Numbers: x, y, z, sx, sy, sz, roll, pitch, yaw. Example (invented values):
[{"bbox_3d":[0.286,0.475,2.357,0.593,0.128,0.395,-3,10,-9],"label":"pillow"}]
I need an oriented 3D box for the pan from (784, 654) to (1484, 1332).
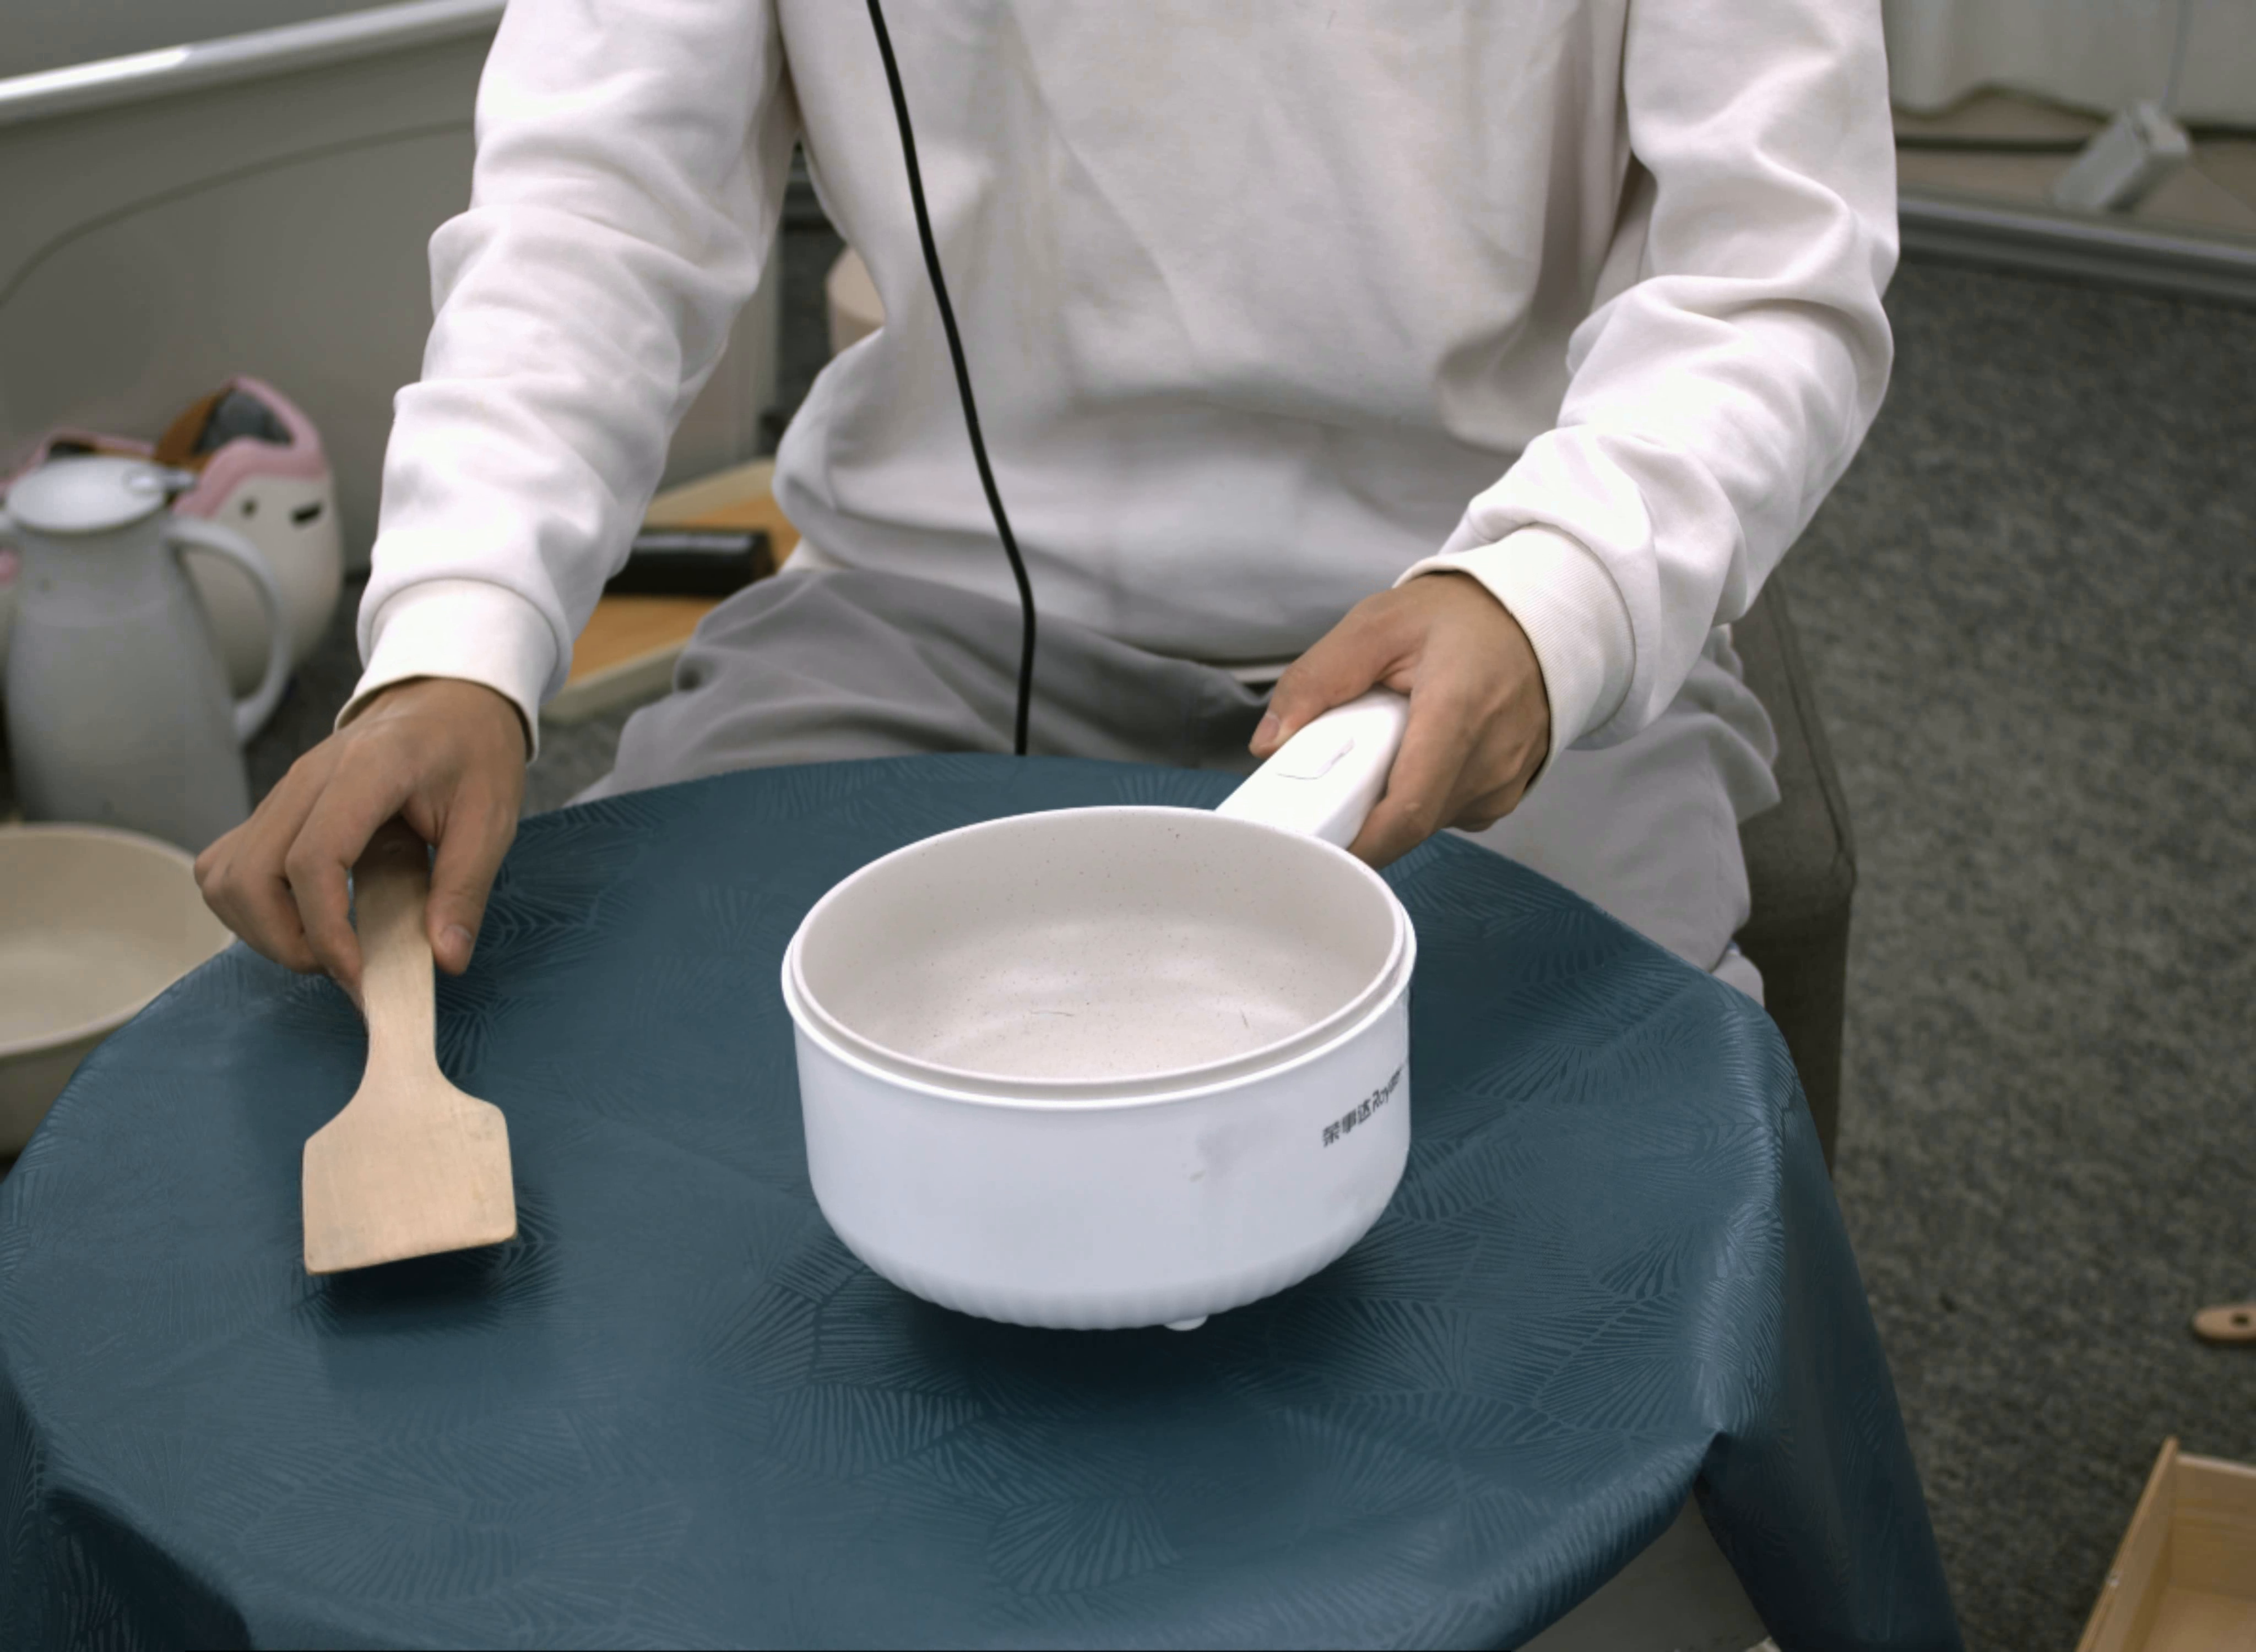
[{"bbox_3d":[0.028,0.052,1.857,0.200,0.101,0.360,8,26,26],"label":"pan"}]

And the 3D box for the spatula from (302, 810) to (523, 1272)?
[{"bbox_3d":[-0.251,0.070,1.937,0.072,0.010,0.297,-10,30,-4],"label":"spatula"}]
